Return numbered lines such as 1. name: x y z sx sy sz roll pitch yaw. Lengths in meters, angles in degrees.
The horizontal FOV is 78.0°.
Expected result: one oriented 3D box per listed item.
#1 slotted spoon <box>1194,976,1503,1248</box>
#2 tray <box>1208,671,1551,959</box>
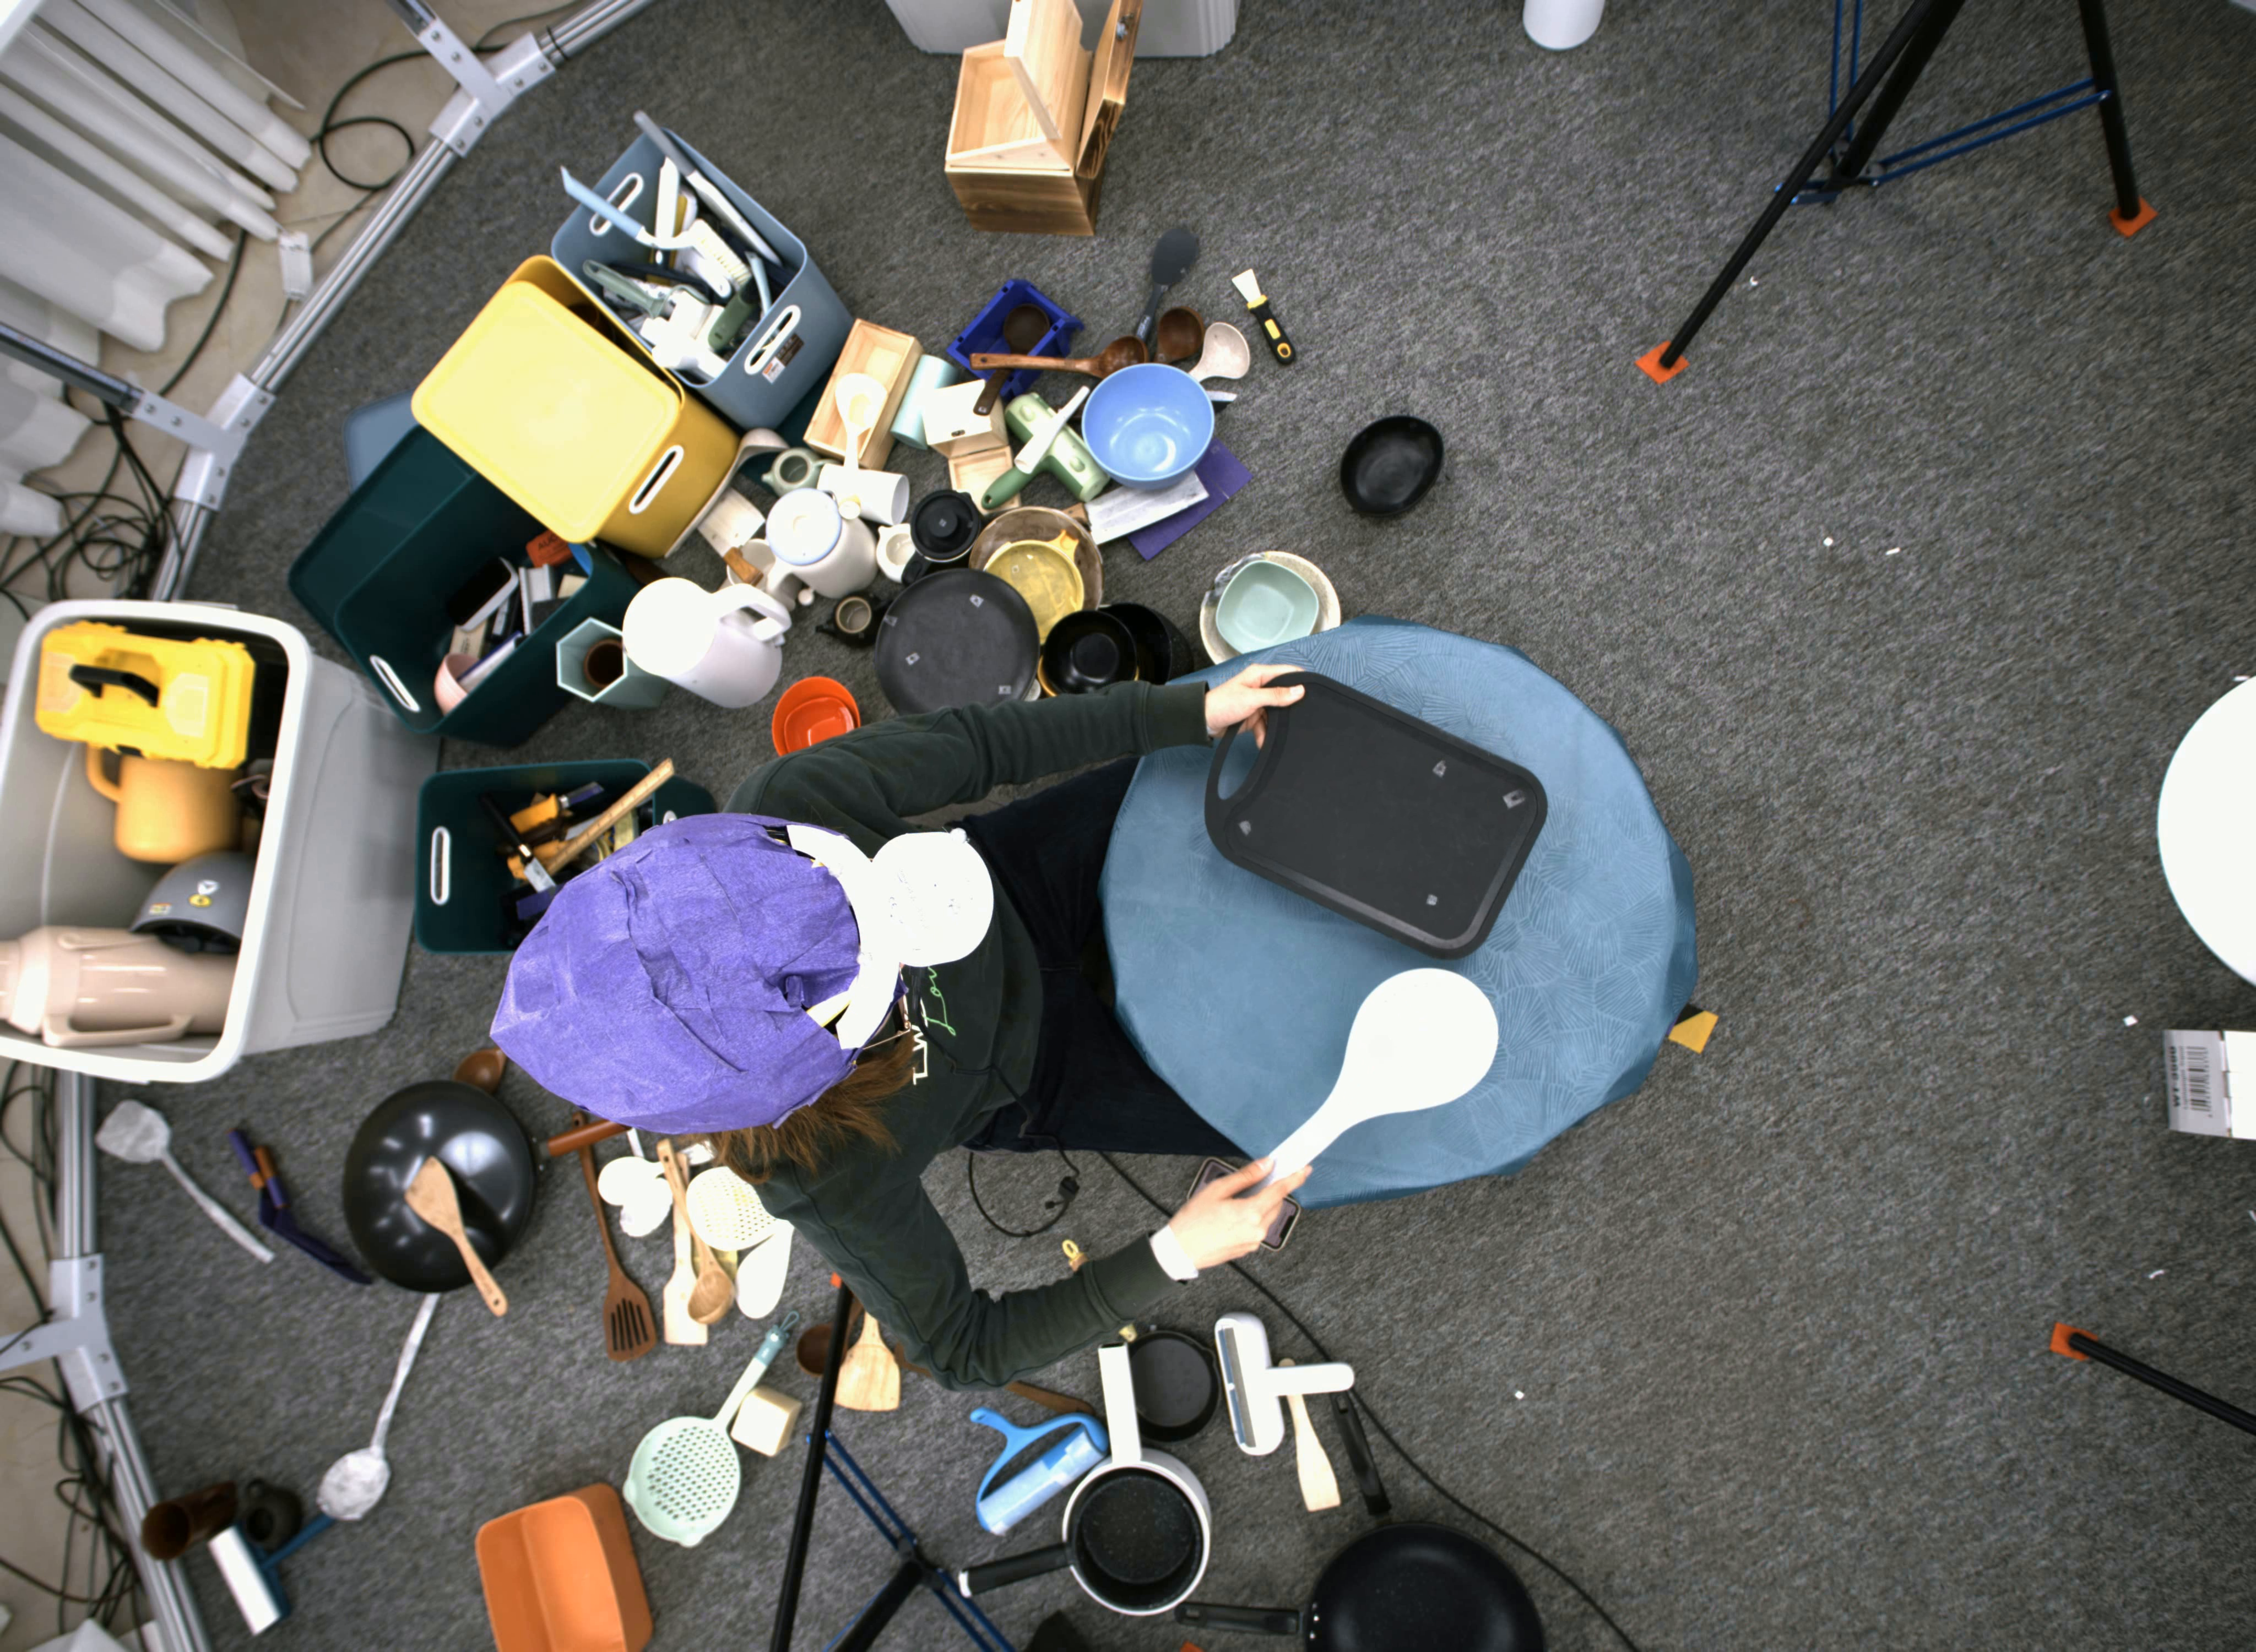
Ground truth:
1. slotted spoon: 0.203 0.273 1.300 0.349 0.046 0.134 -37 49 -5
2. tray: 0.242 -0.015 1.377 0.325 0.010 0.213 25 100 4
